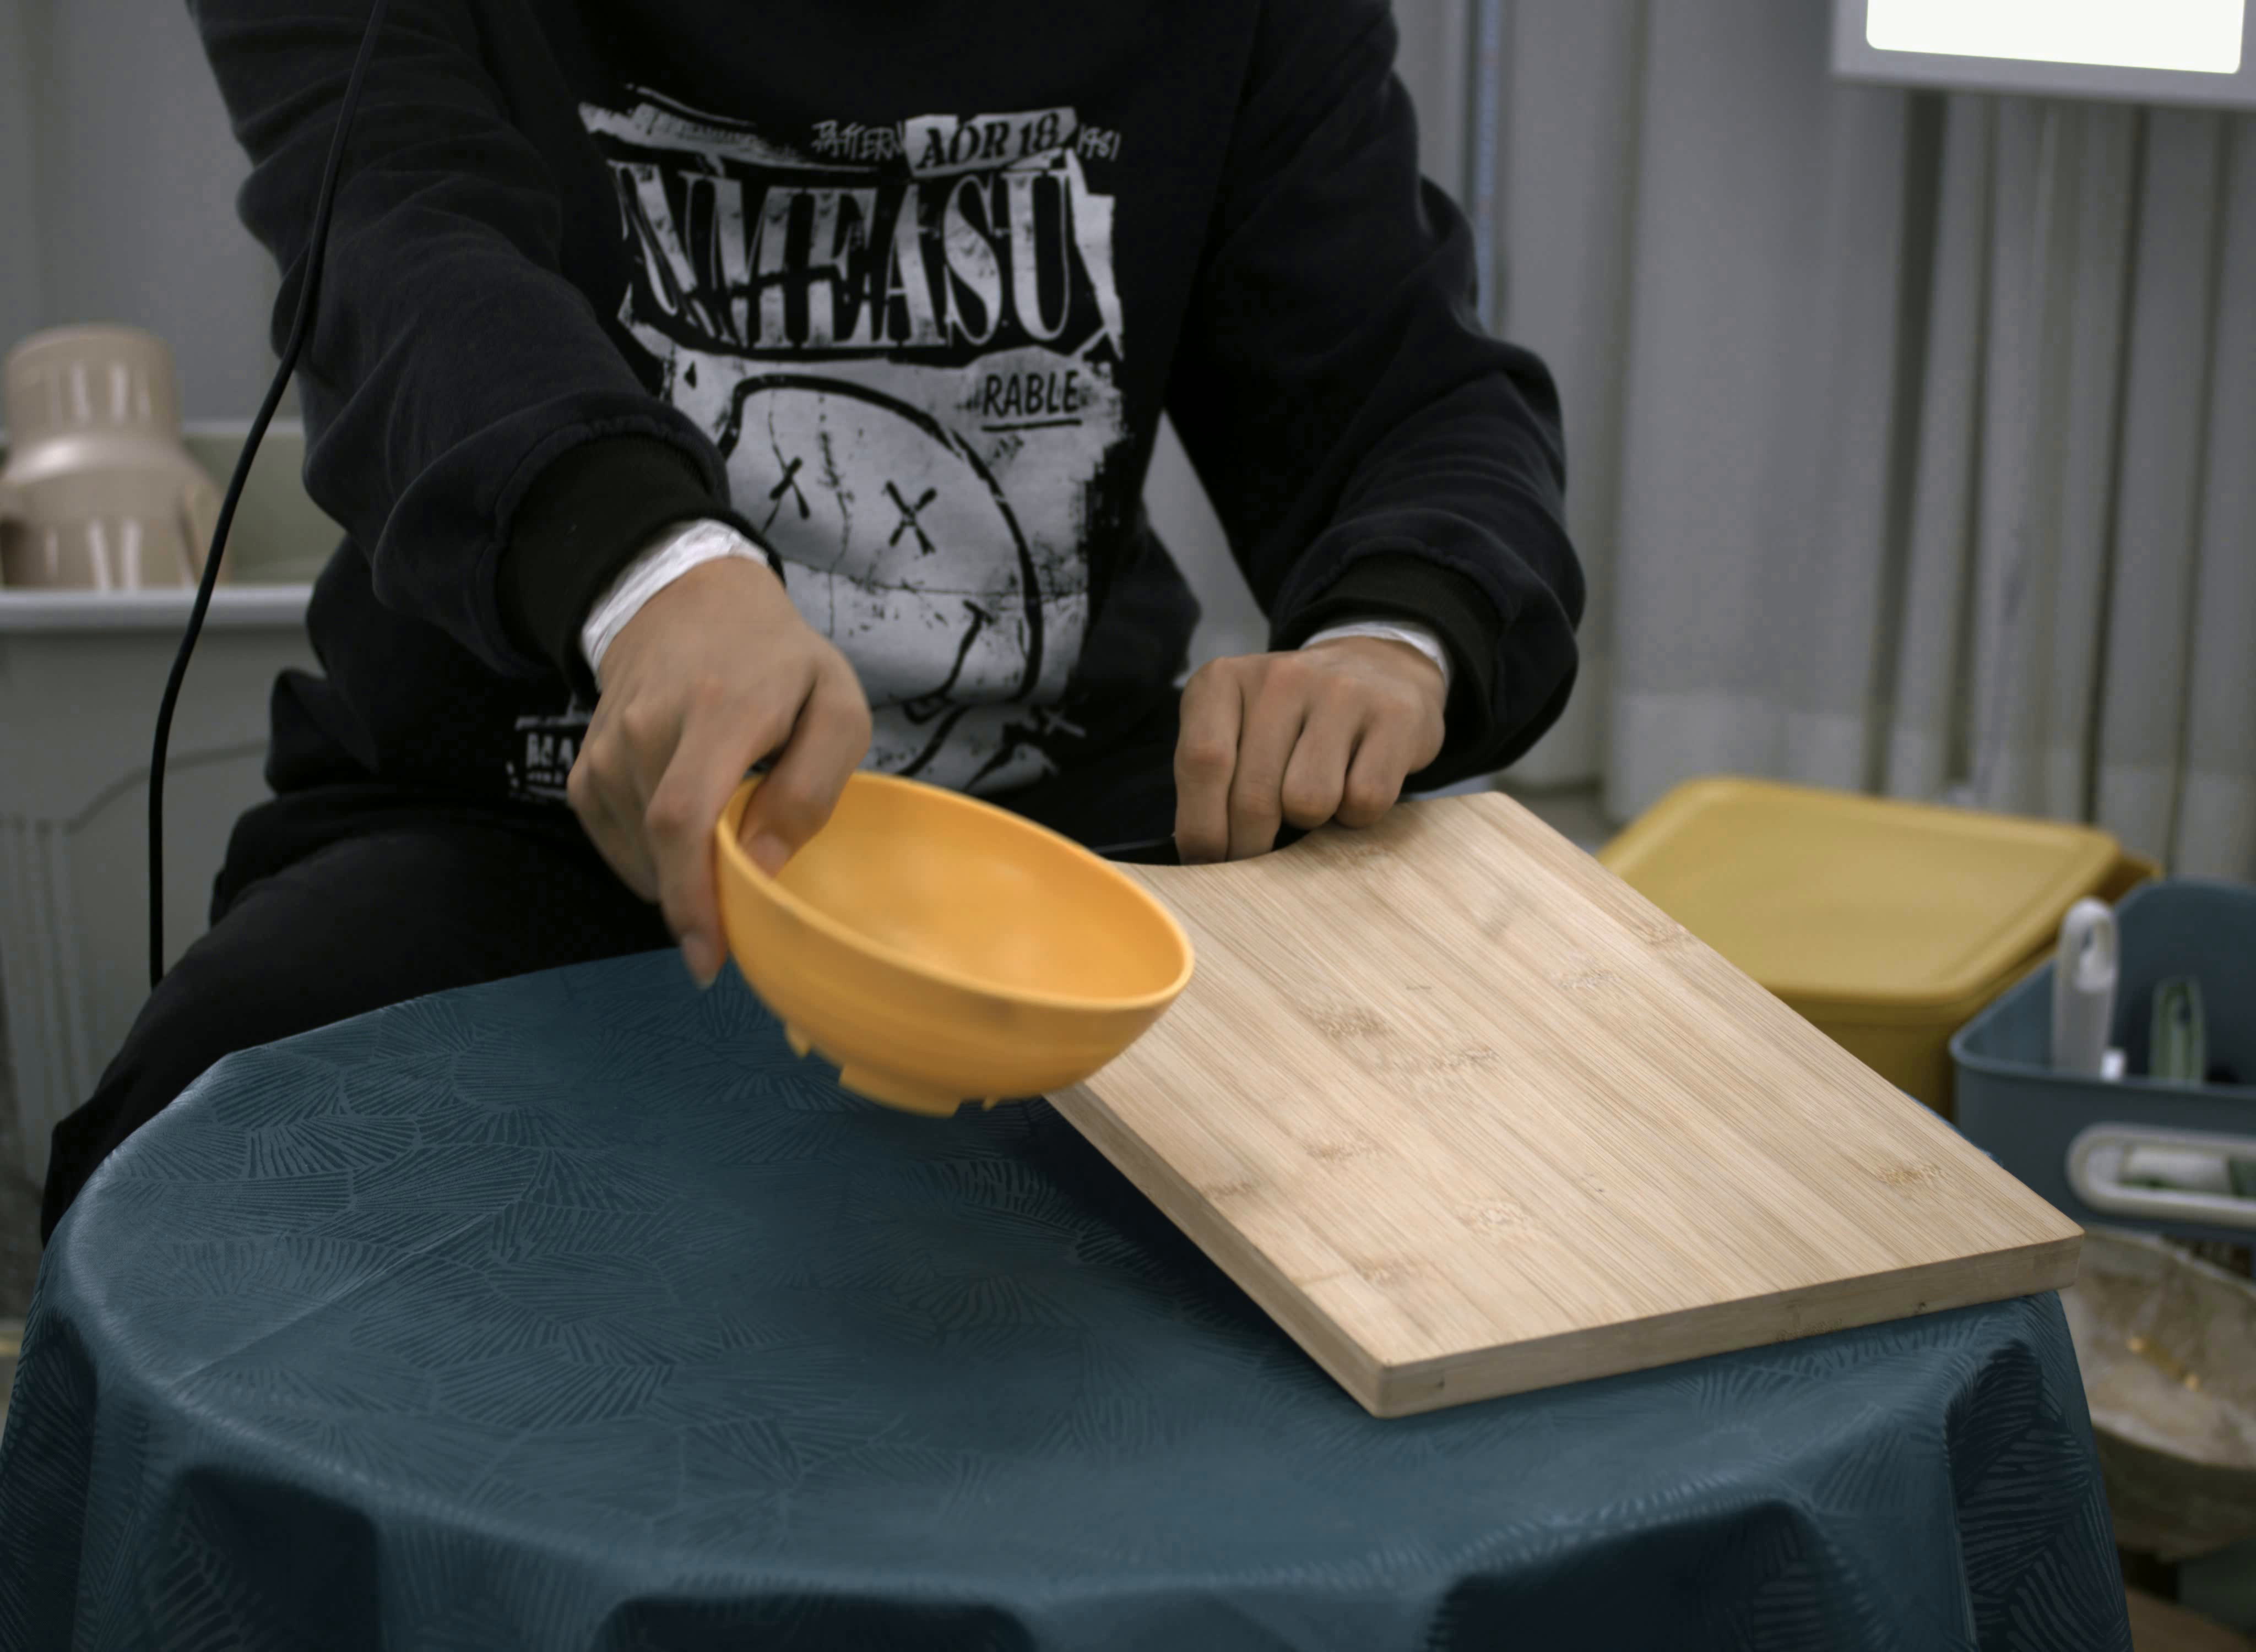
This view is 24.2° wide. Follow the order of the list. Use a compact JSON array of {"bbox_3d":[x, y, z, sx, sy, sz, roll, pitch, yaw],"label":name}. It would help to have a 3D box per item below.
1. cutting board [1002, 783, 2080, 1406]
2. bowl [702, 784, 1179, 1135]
[{"bbox_3d":[0.097,0.075,1.636,0.252,0.024,0.344,-8,27,-28],"label":"cutting board"},{"bbox_3d":[-0.062,0.047,1.511,0.145,0.060,0.144,19,19,-6],"label":"bowl"}]
